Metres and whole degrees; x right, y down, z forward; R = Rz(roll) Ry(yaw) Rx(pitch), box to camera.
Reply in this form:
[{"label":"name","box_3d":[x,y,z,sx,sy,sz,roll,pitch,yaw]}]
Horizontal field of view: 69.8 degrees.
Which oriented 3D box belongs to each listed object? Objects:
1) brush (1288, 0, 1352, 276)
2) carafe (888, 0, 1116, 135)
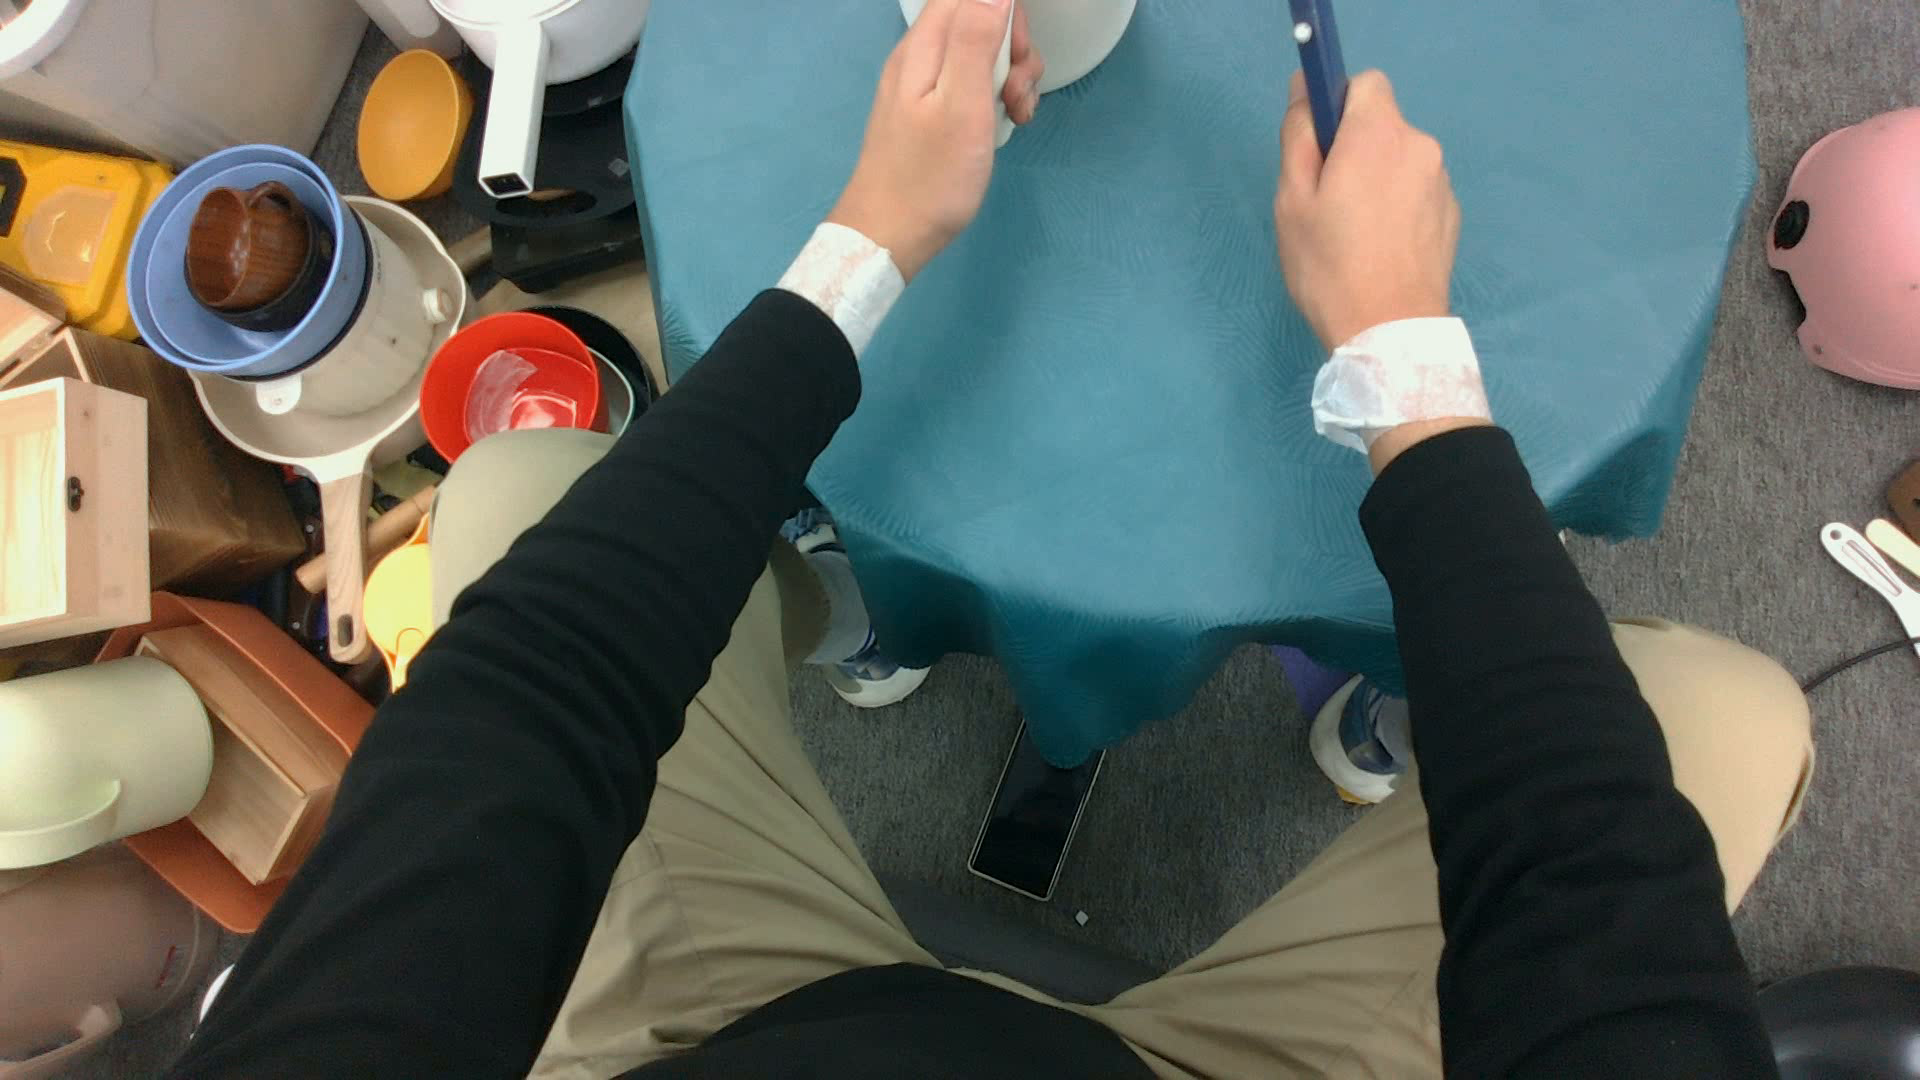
[{"label":"brush","box_3d":[0.162,-0.261,0.628,0.095,0.033,0.273,-14,104,35]},{"label":"carafe","box_3d":[0.018,-0.299,0.674,0.132,0.182,0.191,5,82,4]}]
